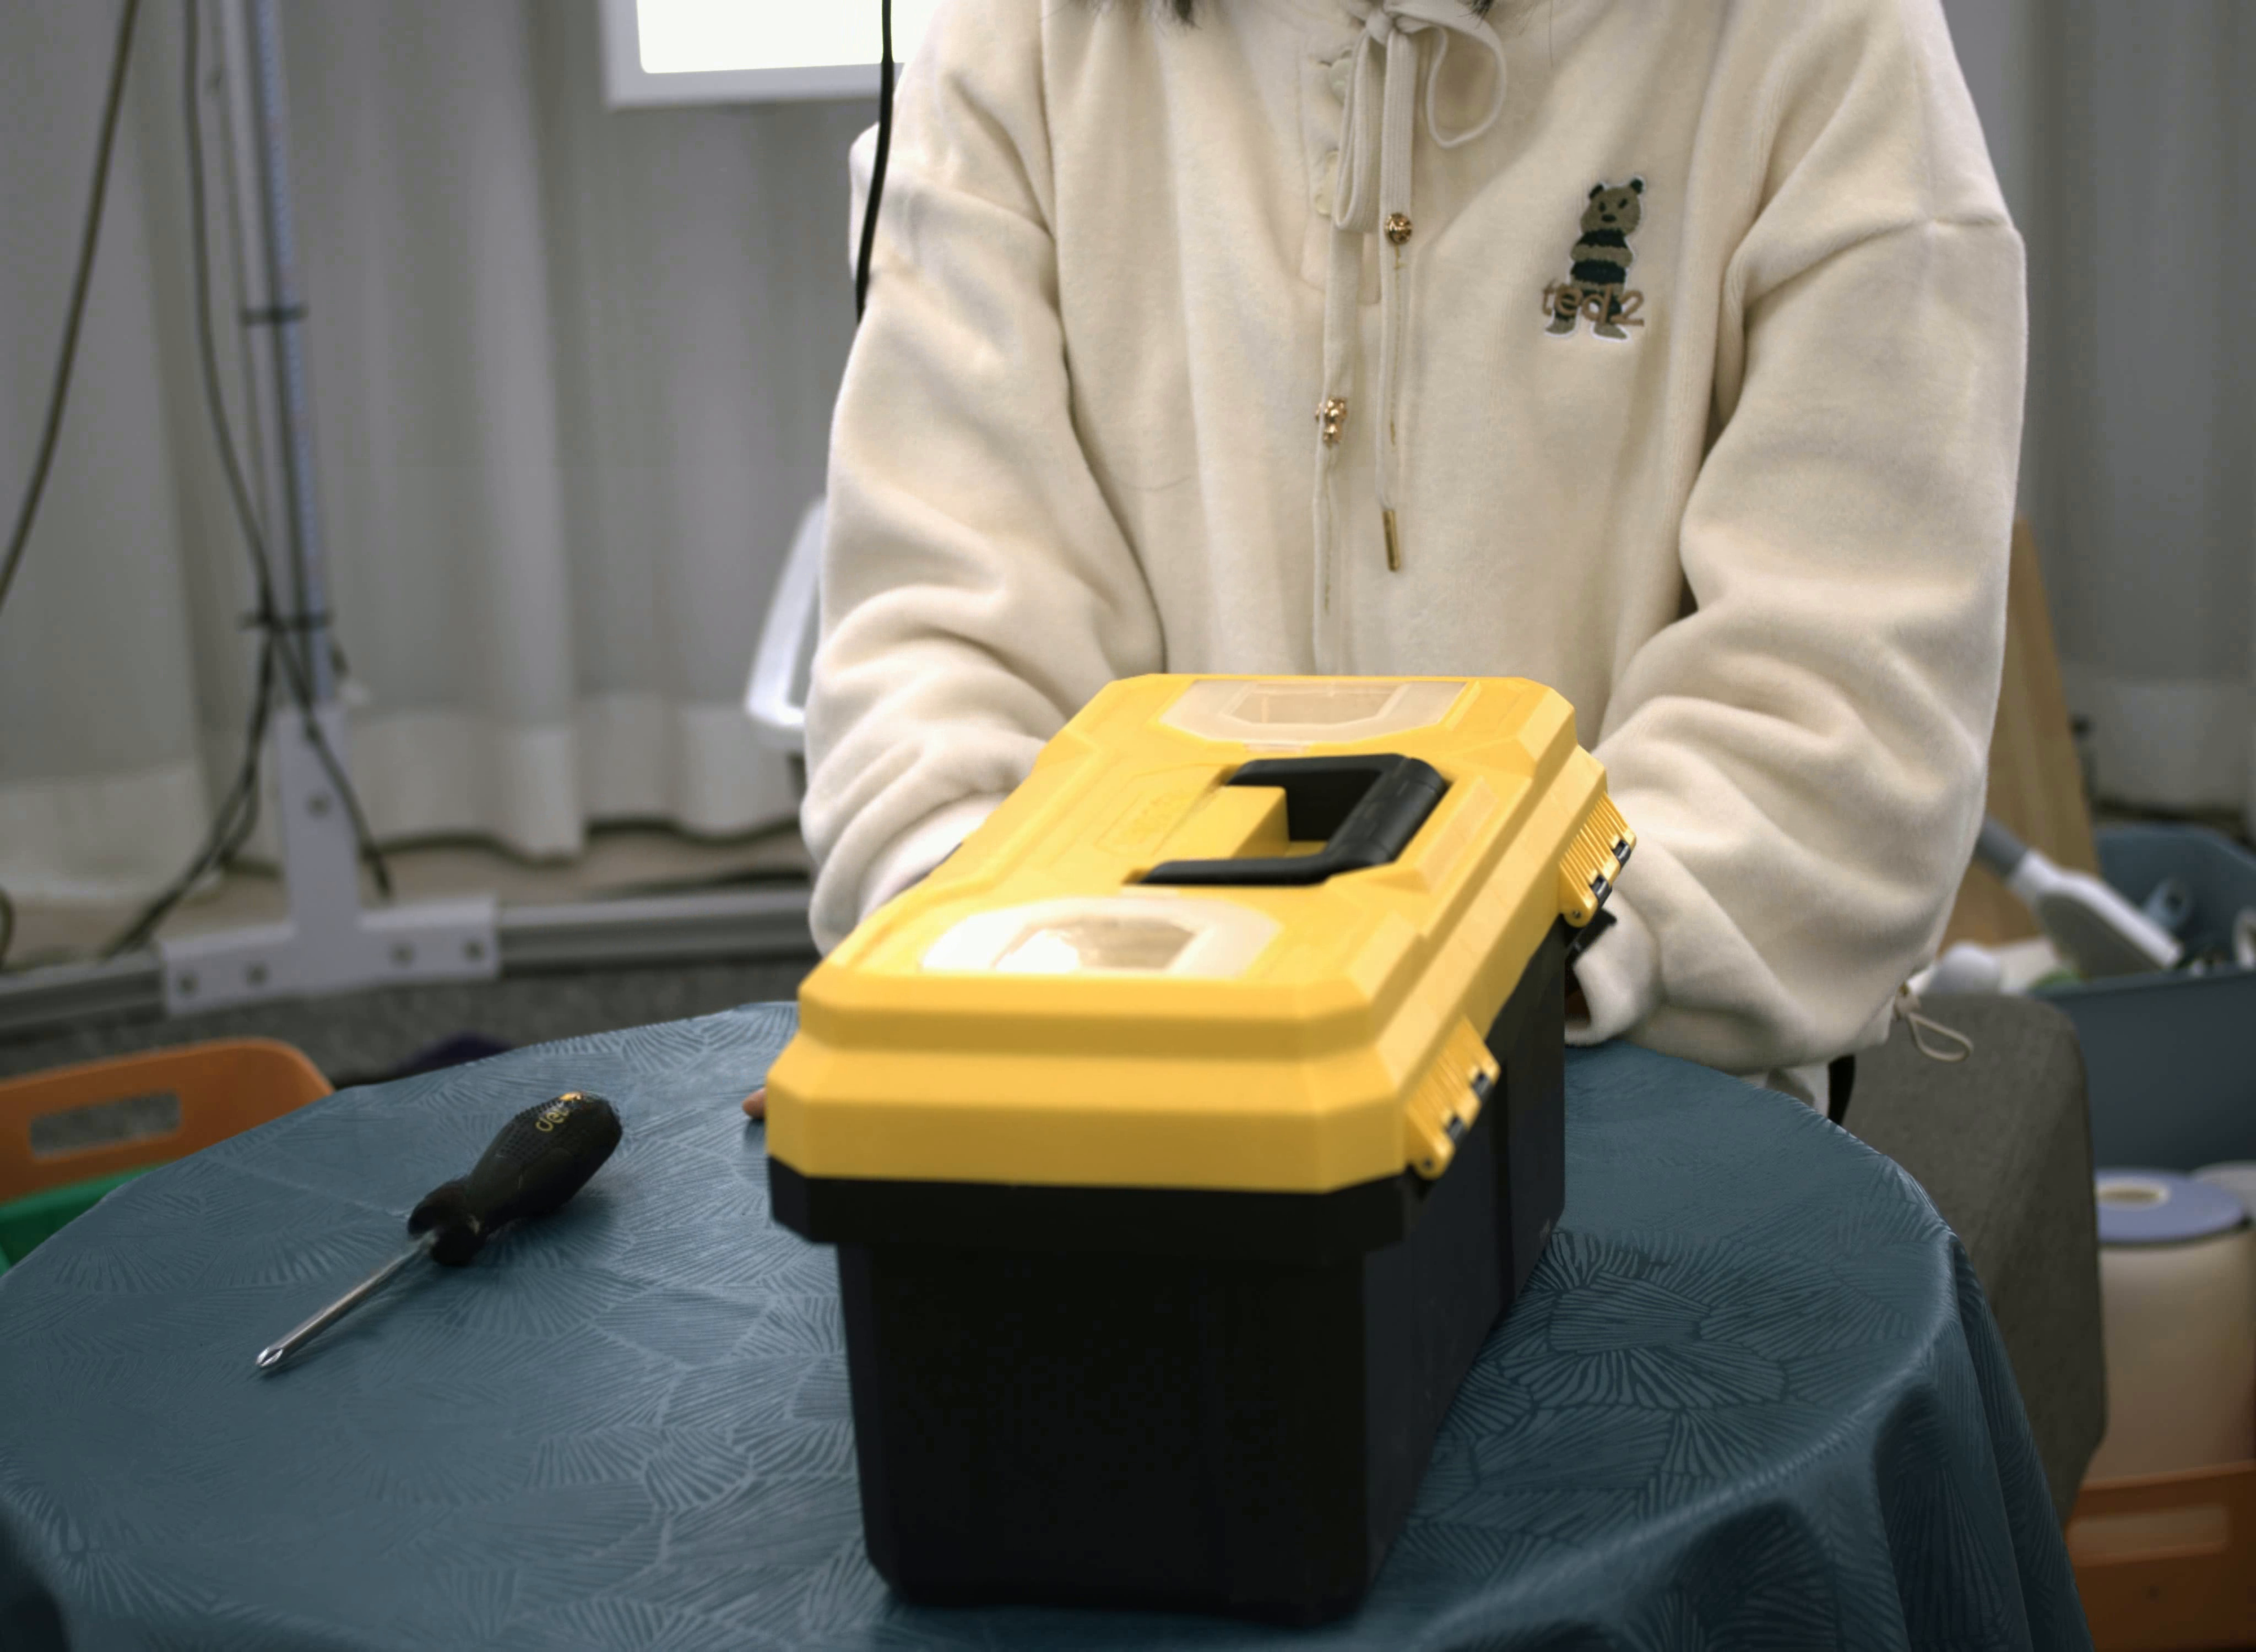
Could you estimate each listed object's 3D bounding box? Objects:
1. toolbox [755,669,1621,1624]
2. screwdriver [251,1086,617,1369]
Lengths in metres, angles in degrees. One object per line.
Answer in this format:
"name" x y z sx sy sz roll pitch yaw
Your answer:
"toolbox" 0.029 0.078 1.511 0.181 0.172 0.353 1 15 15
"screwdriver" -0.212 0.121 1.669 0.031 0.031 0.197 4 18 25
